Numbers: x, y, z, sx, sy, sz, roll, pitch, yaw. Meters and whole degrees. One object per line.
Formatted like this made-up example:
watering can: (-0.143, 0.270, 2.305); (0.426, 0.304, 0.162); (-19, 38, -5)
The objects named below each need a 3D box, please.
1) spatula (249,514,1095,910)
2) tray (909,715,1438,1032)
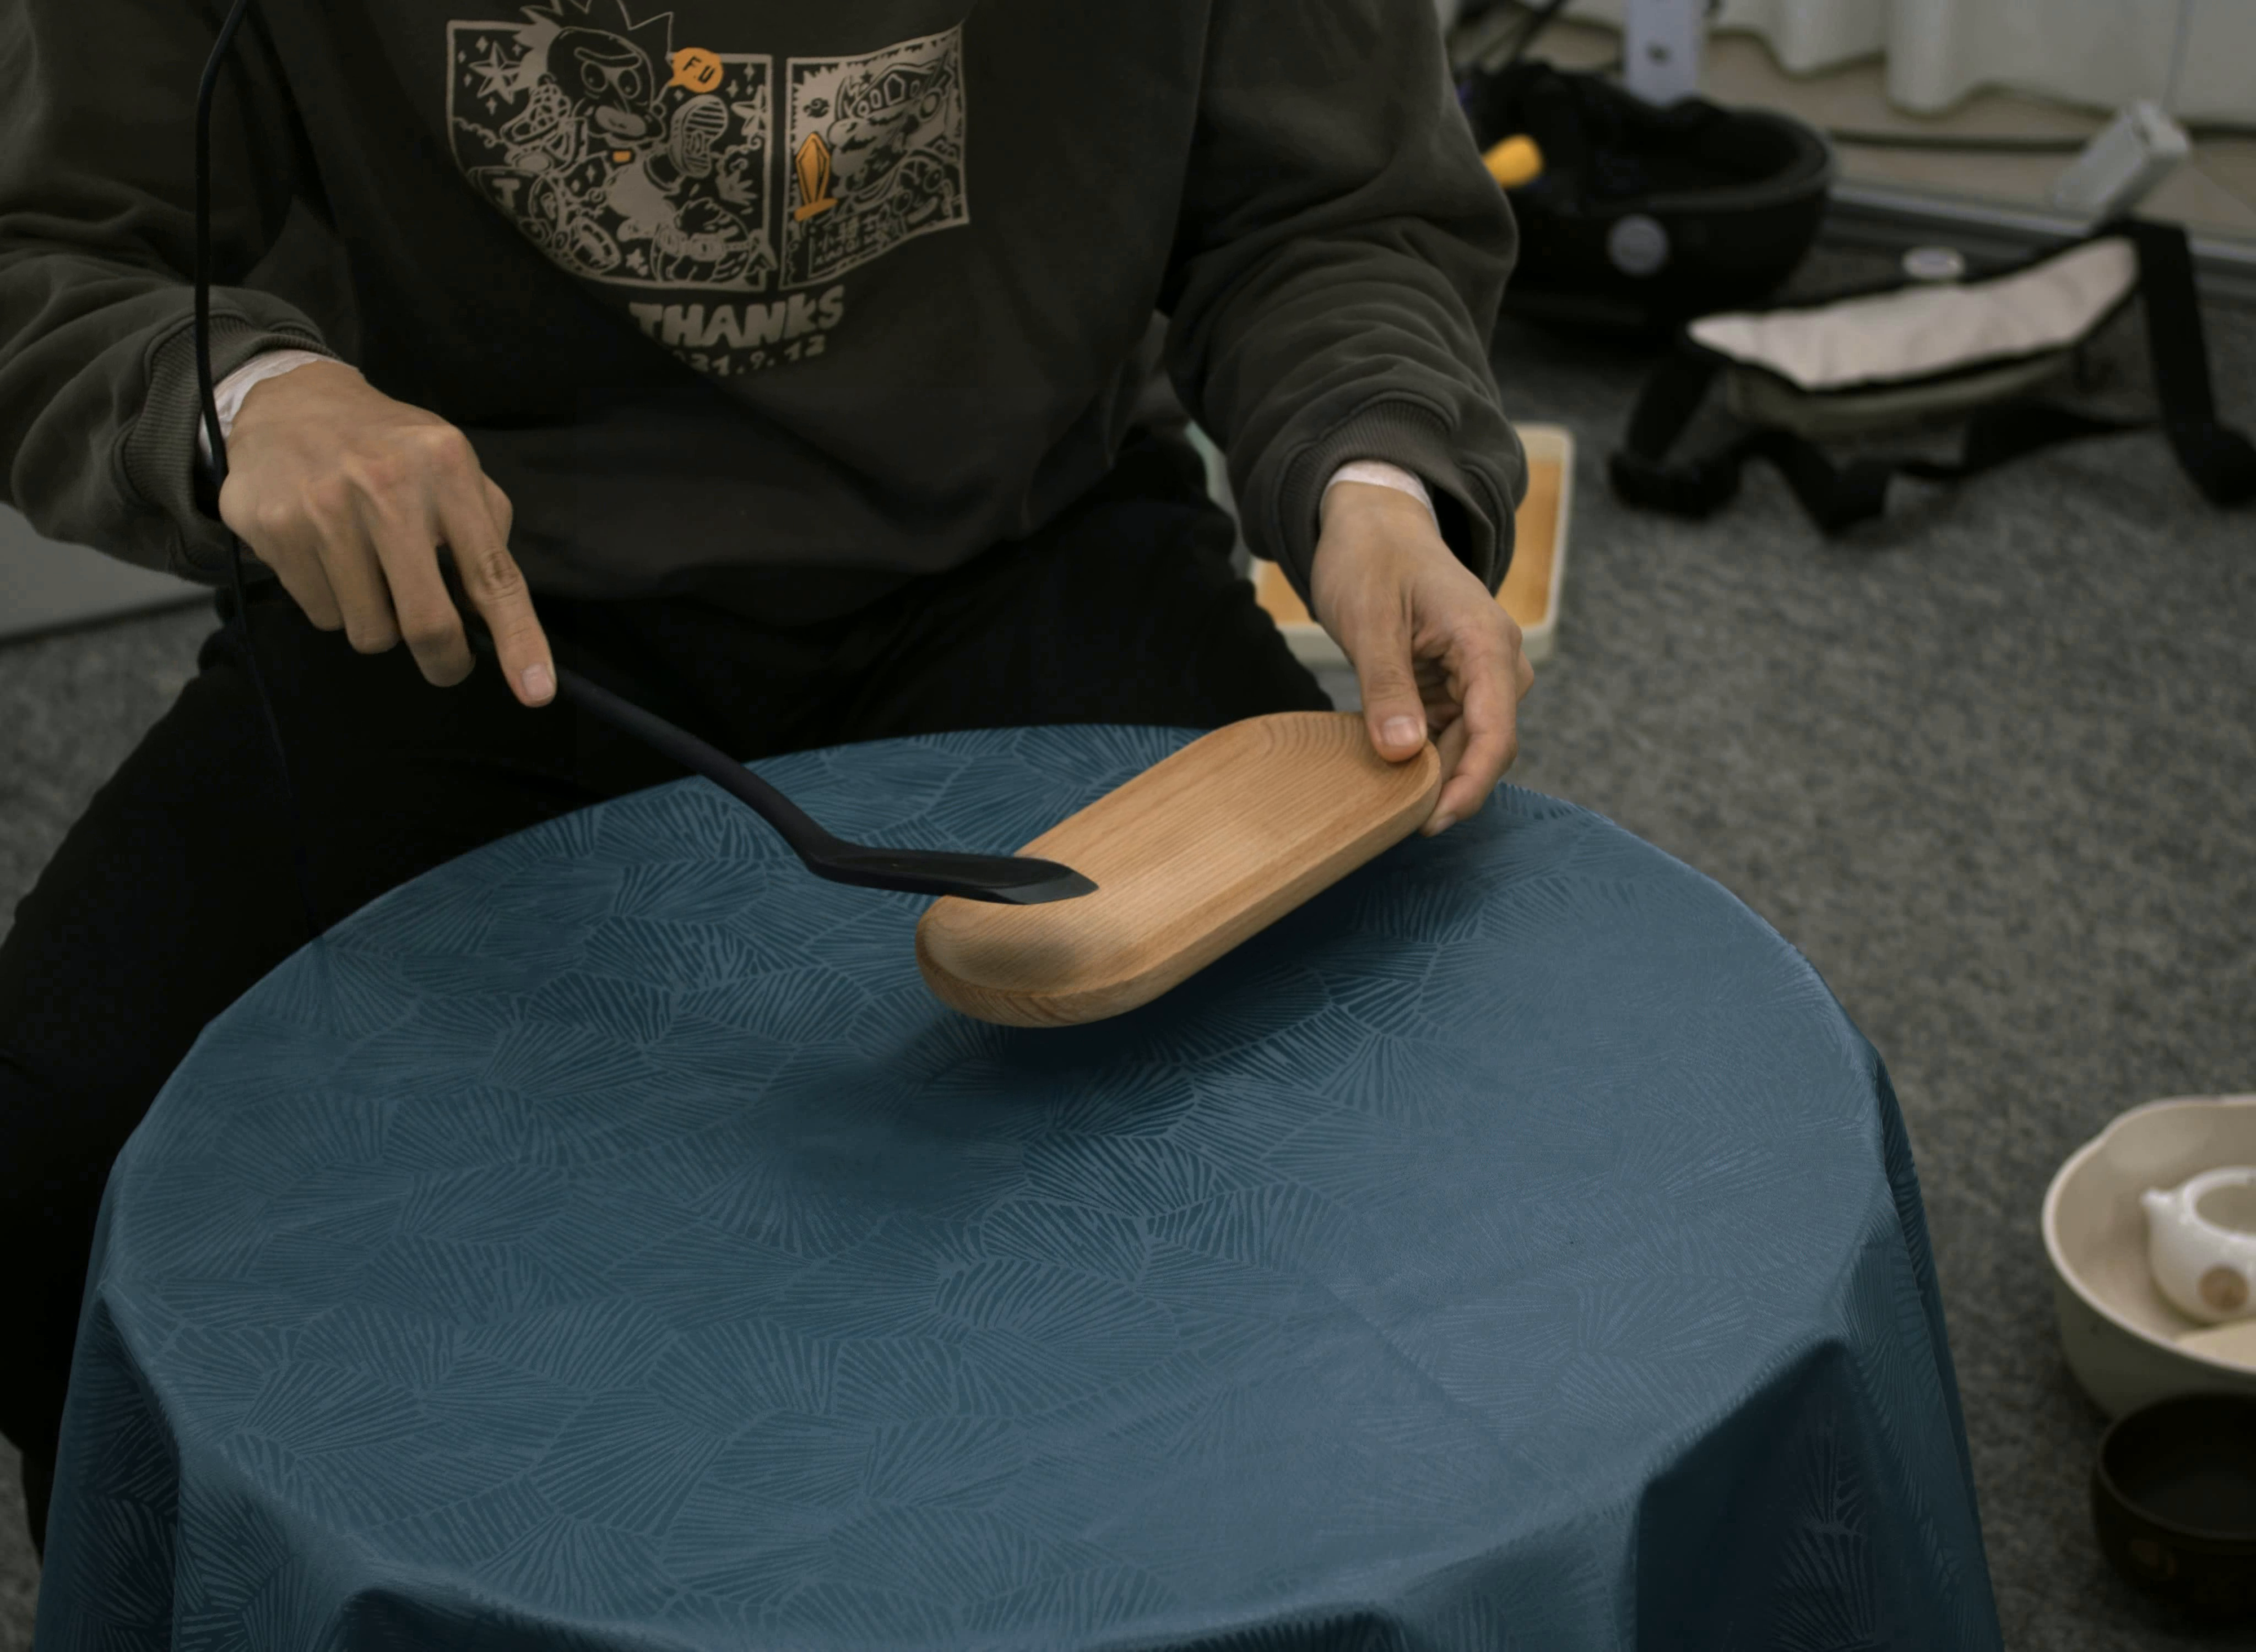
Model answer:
spatula: (-0.163, -0.039, 1.925); (0.326, 0.040, 0.100); (31, 10, 14)
tray: (0.018, 0.015, 1.977); (0.101, 0.020, 0.234); (16, 35, 38)
